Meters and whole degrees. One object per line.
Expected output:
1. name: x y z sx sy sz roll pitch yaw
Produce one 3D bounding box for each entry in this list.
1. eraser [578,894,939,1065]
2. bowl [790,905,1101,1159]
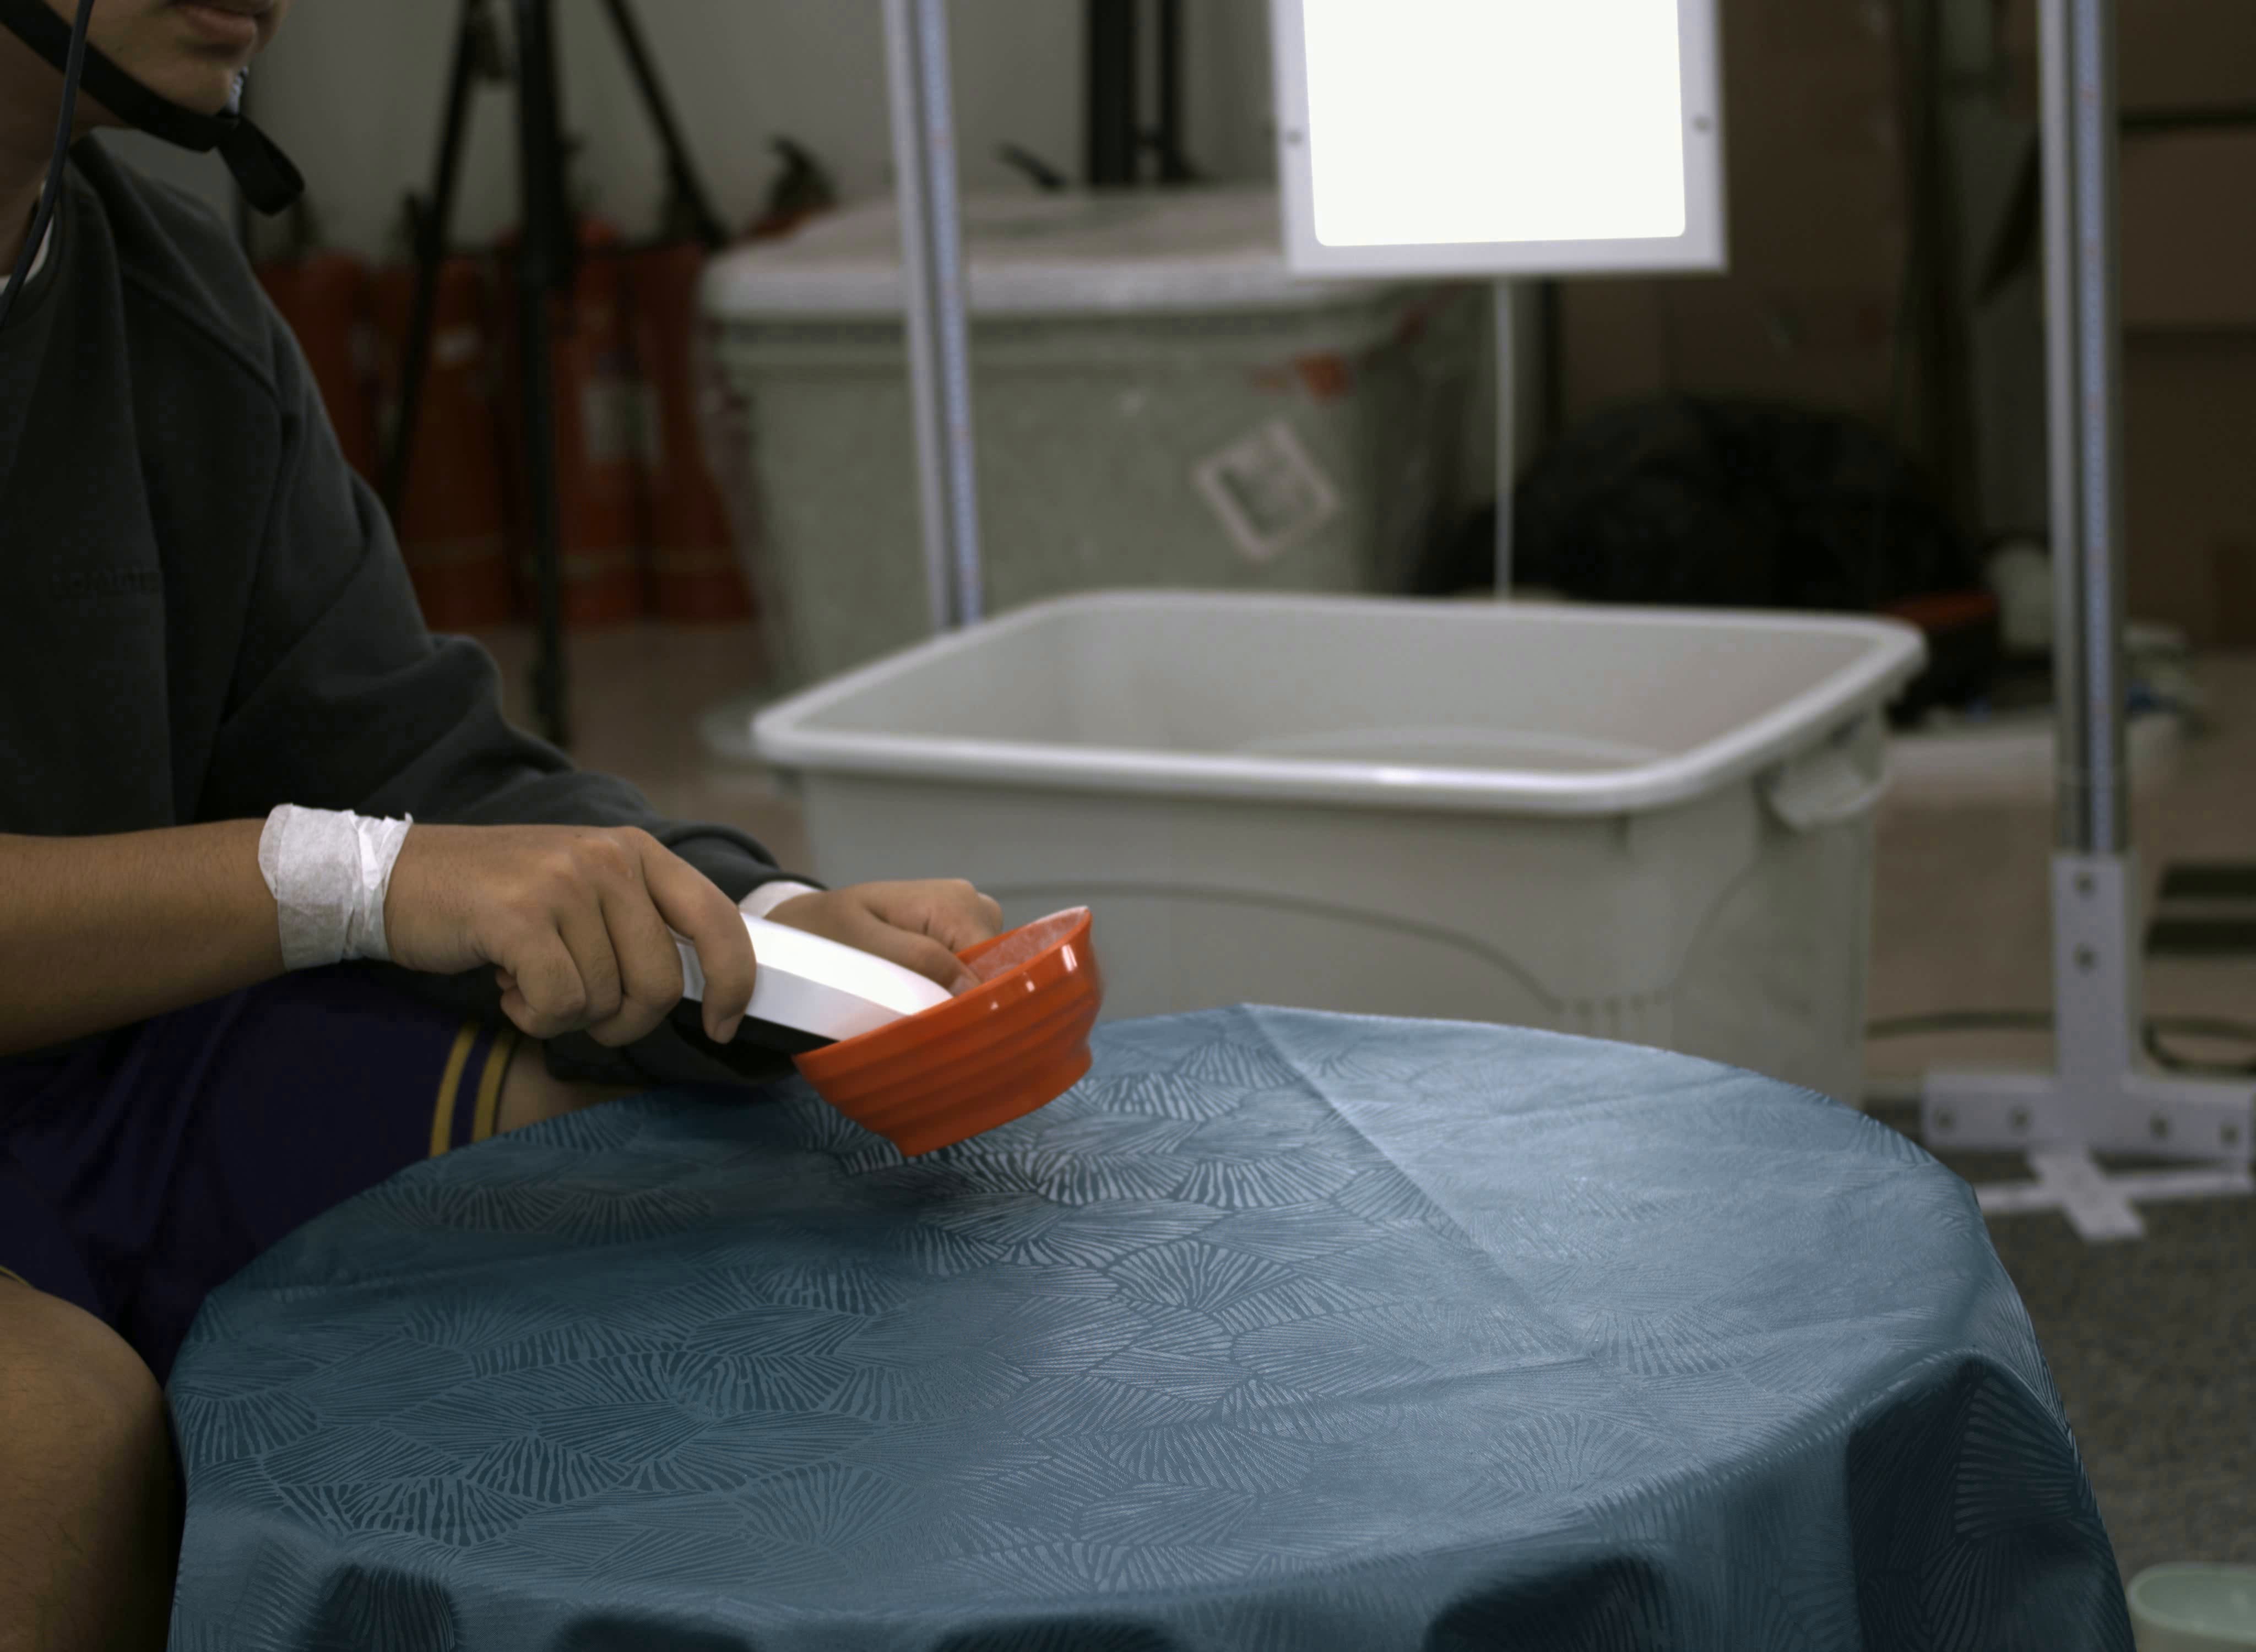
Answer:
1. eraser: -0.125 0.053 1.902 0.131 0.035 0.063 18 11 0
2. bowl: -0.054 0.076 1.900 0.119 0.051 0.119 -25 7 1
